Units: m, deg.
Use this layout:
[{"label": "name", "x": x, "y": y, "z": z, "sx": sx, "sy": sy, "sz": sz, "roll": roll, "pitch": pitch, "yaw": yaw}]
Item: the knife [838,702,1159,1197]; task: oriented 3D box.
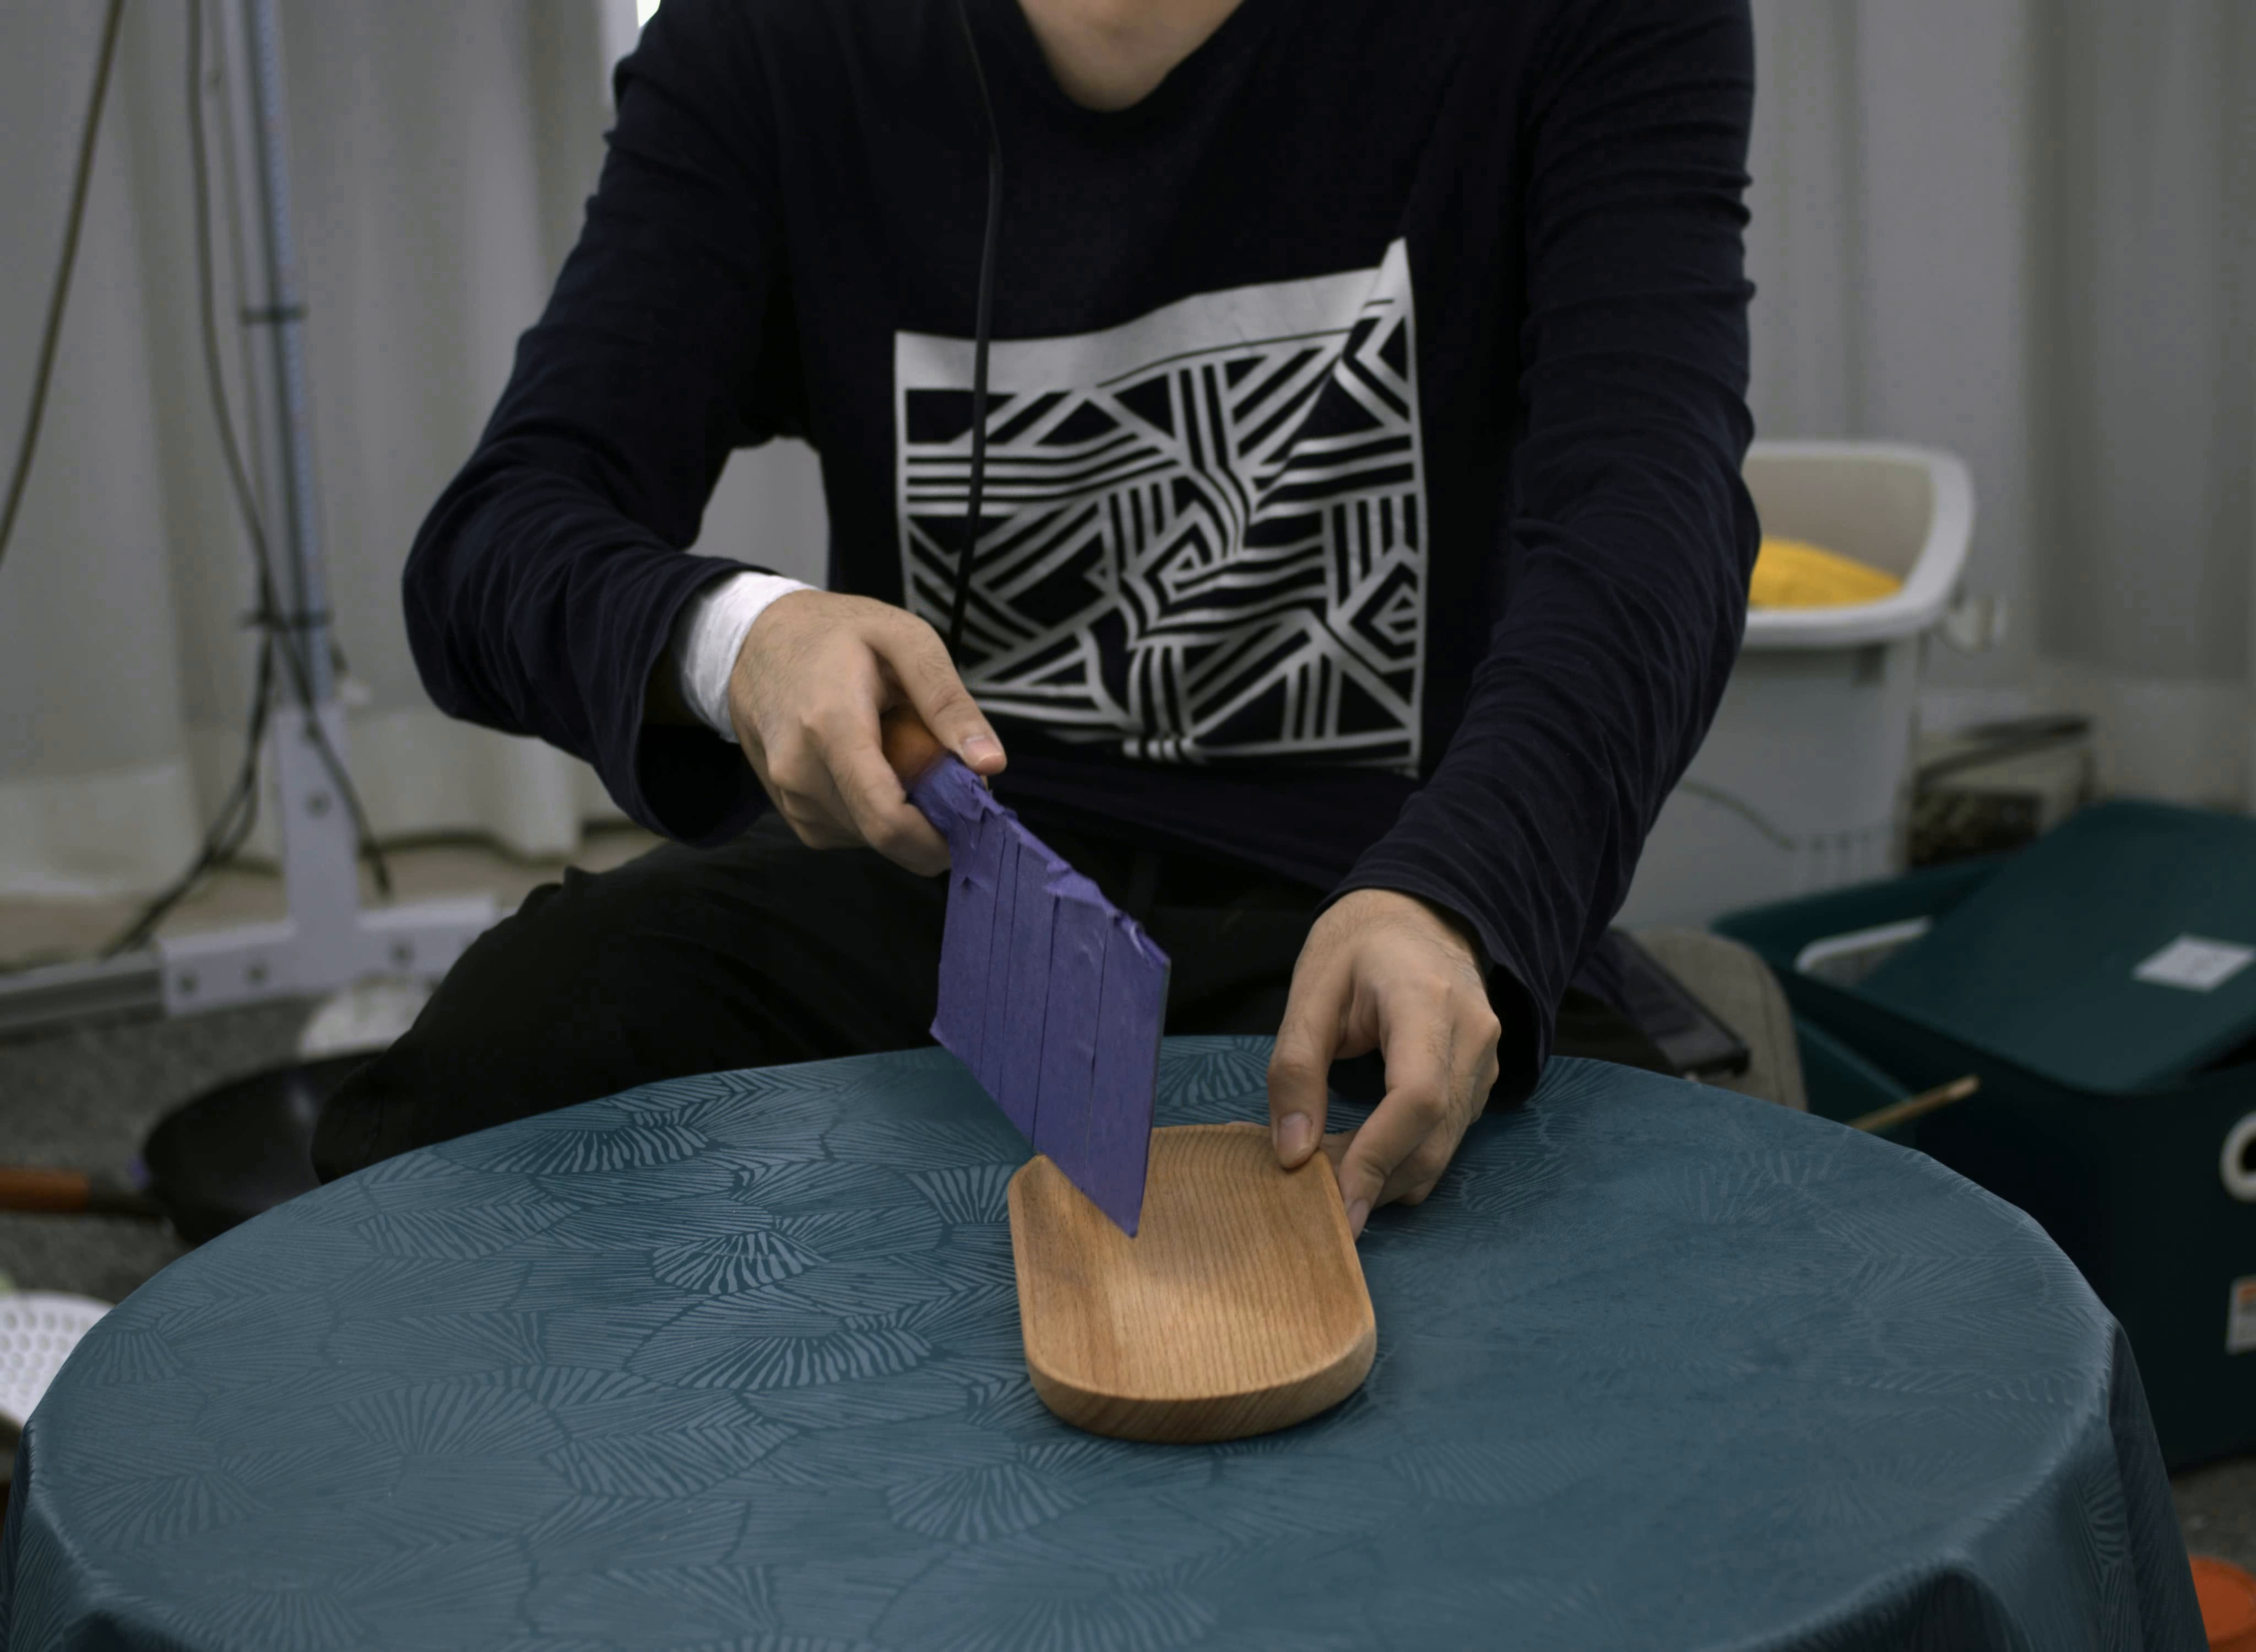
[{"label": "knife", "x": -0.046, "y": 0.037, "z": 1.741, "sx": 0.032, "sy": 0.103, "sz": 0.318, "roll": 4, "pitch": 13, "yaw": -17}]

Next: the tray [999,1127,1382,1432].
[{"label": "tray", "x": 0.016, "y": 0.131, "z": 1.613, "sx": 0.101, "sy": 0.020, "sz": 0.233, "roll": -5, "pitch": 14, "yaw": -4}]
